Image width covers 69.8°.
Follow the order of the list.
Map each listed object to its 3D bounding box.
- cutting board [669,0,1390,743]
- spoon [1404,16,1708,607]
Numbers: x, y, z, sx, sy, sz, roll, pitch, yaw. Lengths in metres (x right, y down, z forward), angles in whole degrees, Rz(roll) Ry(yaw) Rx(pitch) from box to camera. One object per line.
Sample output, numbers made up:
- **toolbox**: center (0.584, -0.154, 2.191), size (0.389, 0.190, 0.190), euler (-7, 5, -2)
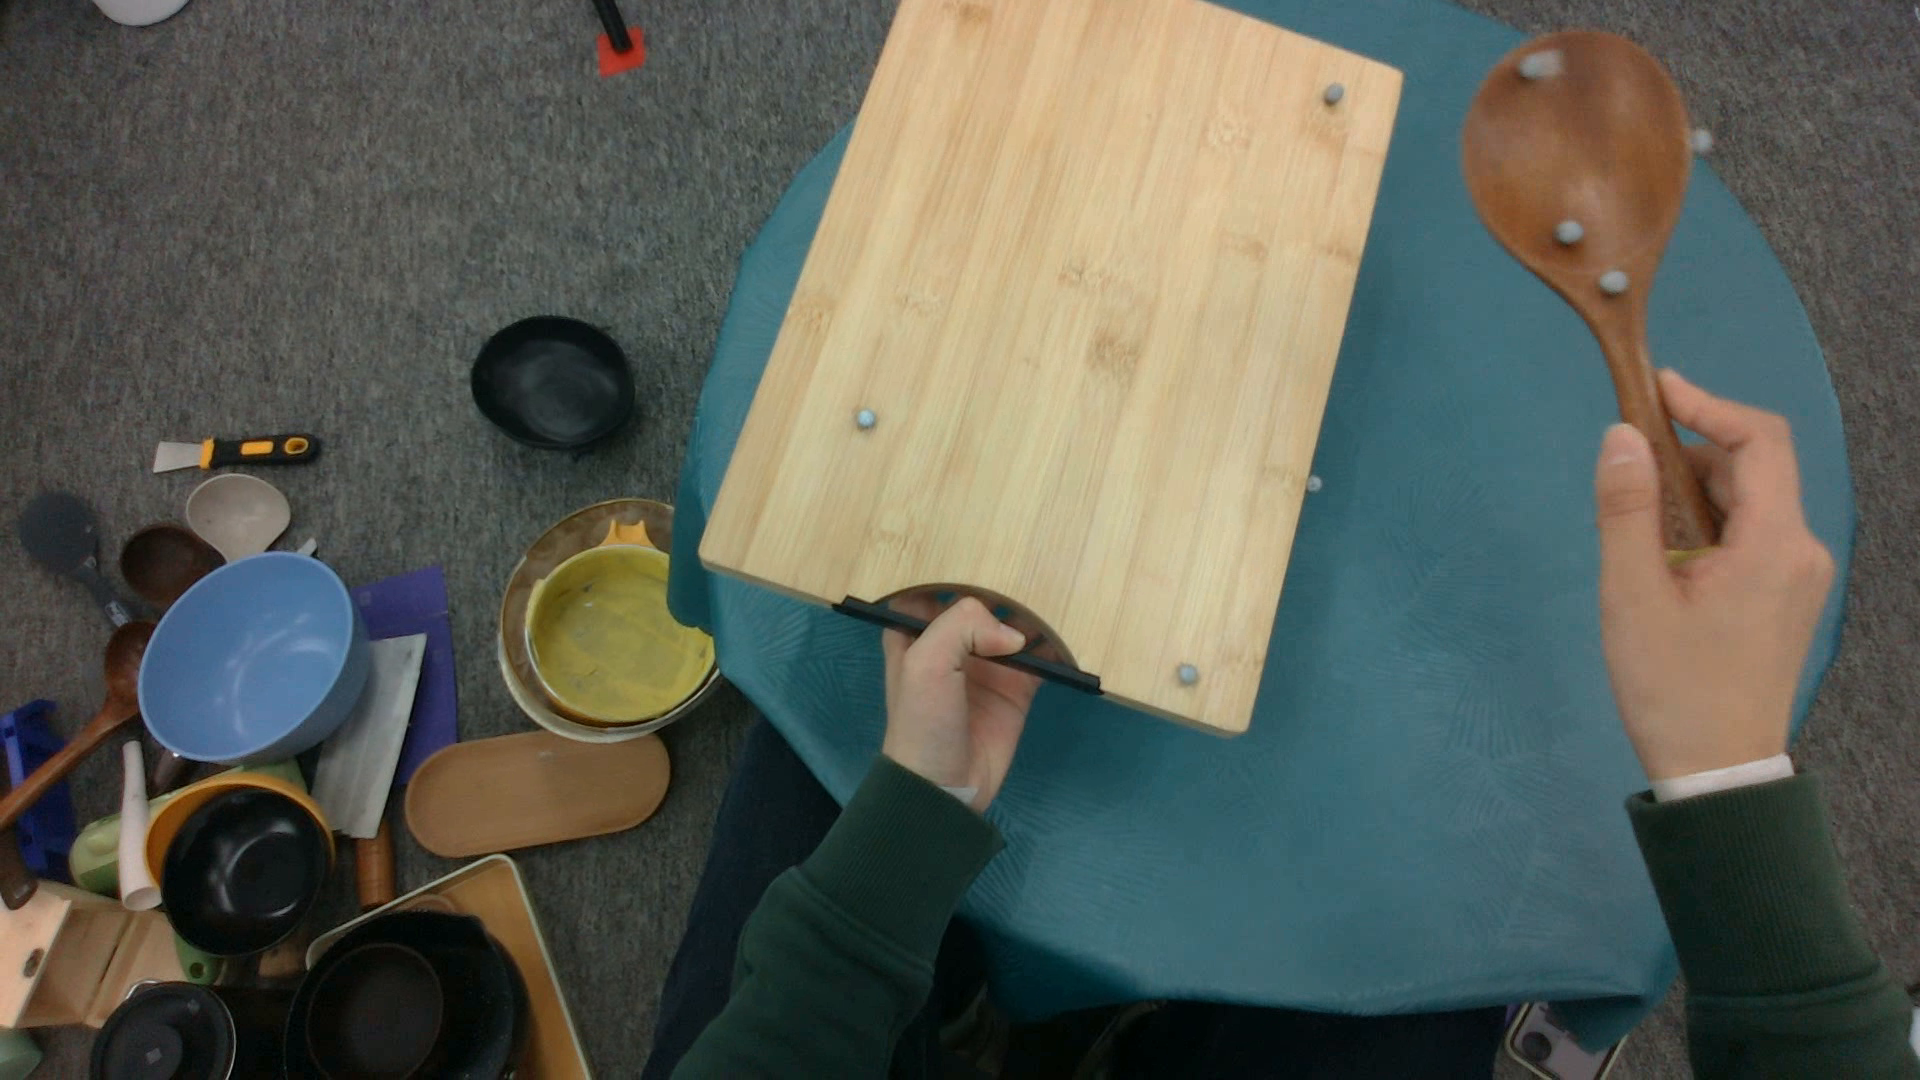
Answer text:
- **cutting board**: center (0.045, -0.109, 0.623), size (0.251, 0.023, 0.349), euler (17, 73, -2)
- **spoon**: center (0.214, -0.082, 0.480), size (0.075, 0.017, 0.216), euler (-17, 79, 19)
